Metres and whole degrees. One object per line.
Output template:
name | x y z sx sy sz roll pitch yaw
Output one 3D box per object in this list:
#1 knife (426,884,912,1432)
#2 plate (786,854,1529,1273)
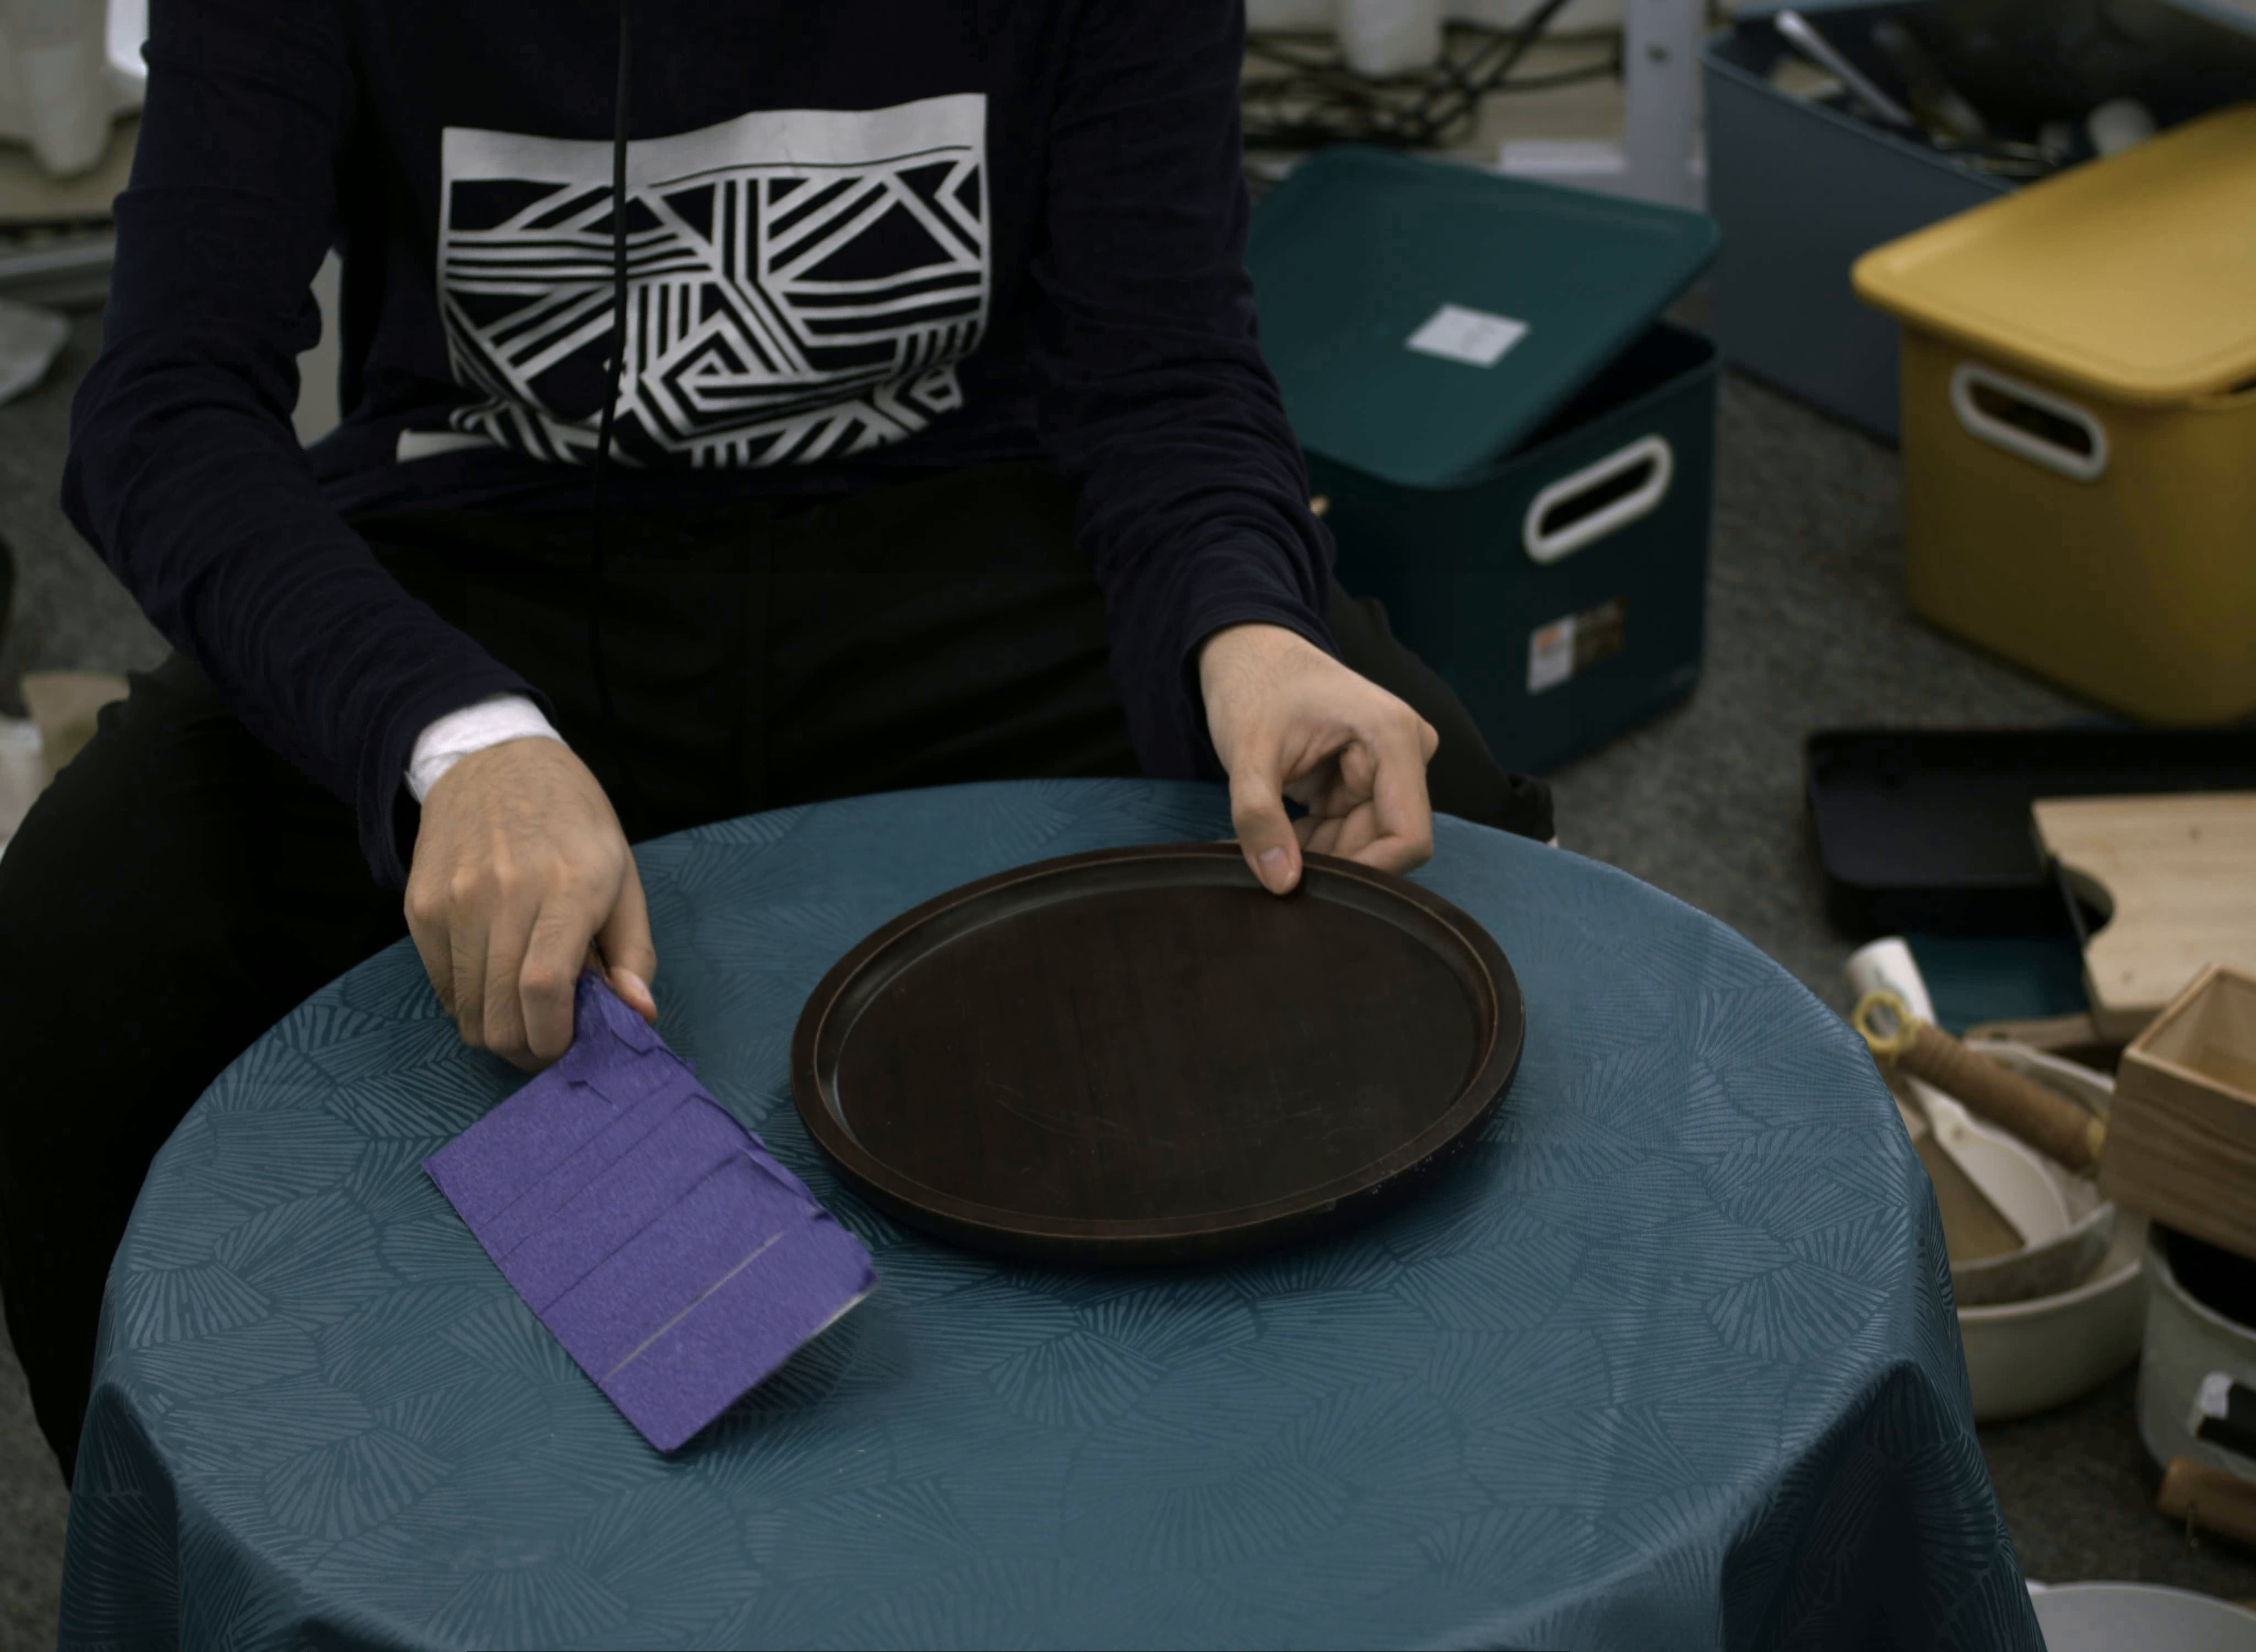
knife | -0.180 0.105 1.856 0.104 0.032 0.316 -36 33 -12
plate | 0.010 0.078 1.910 0.253 0.029 0.259 -3 30 2
